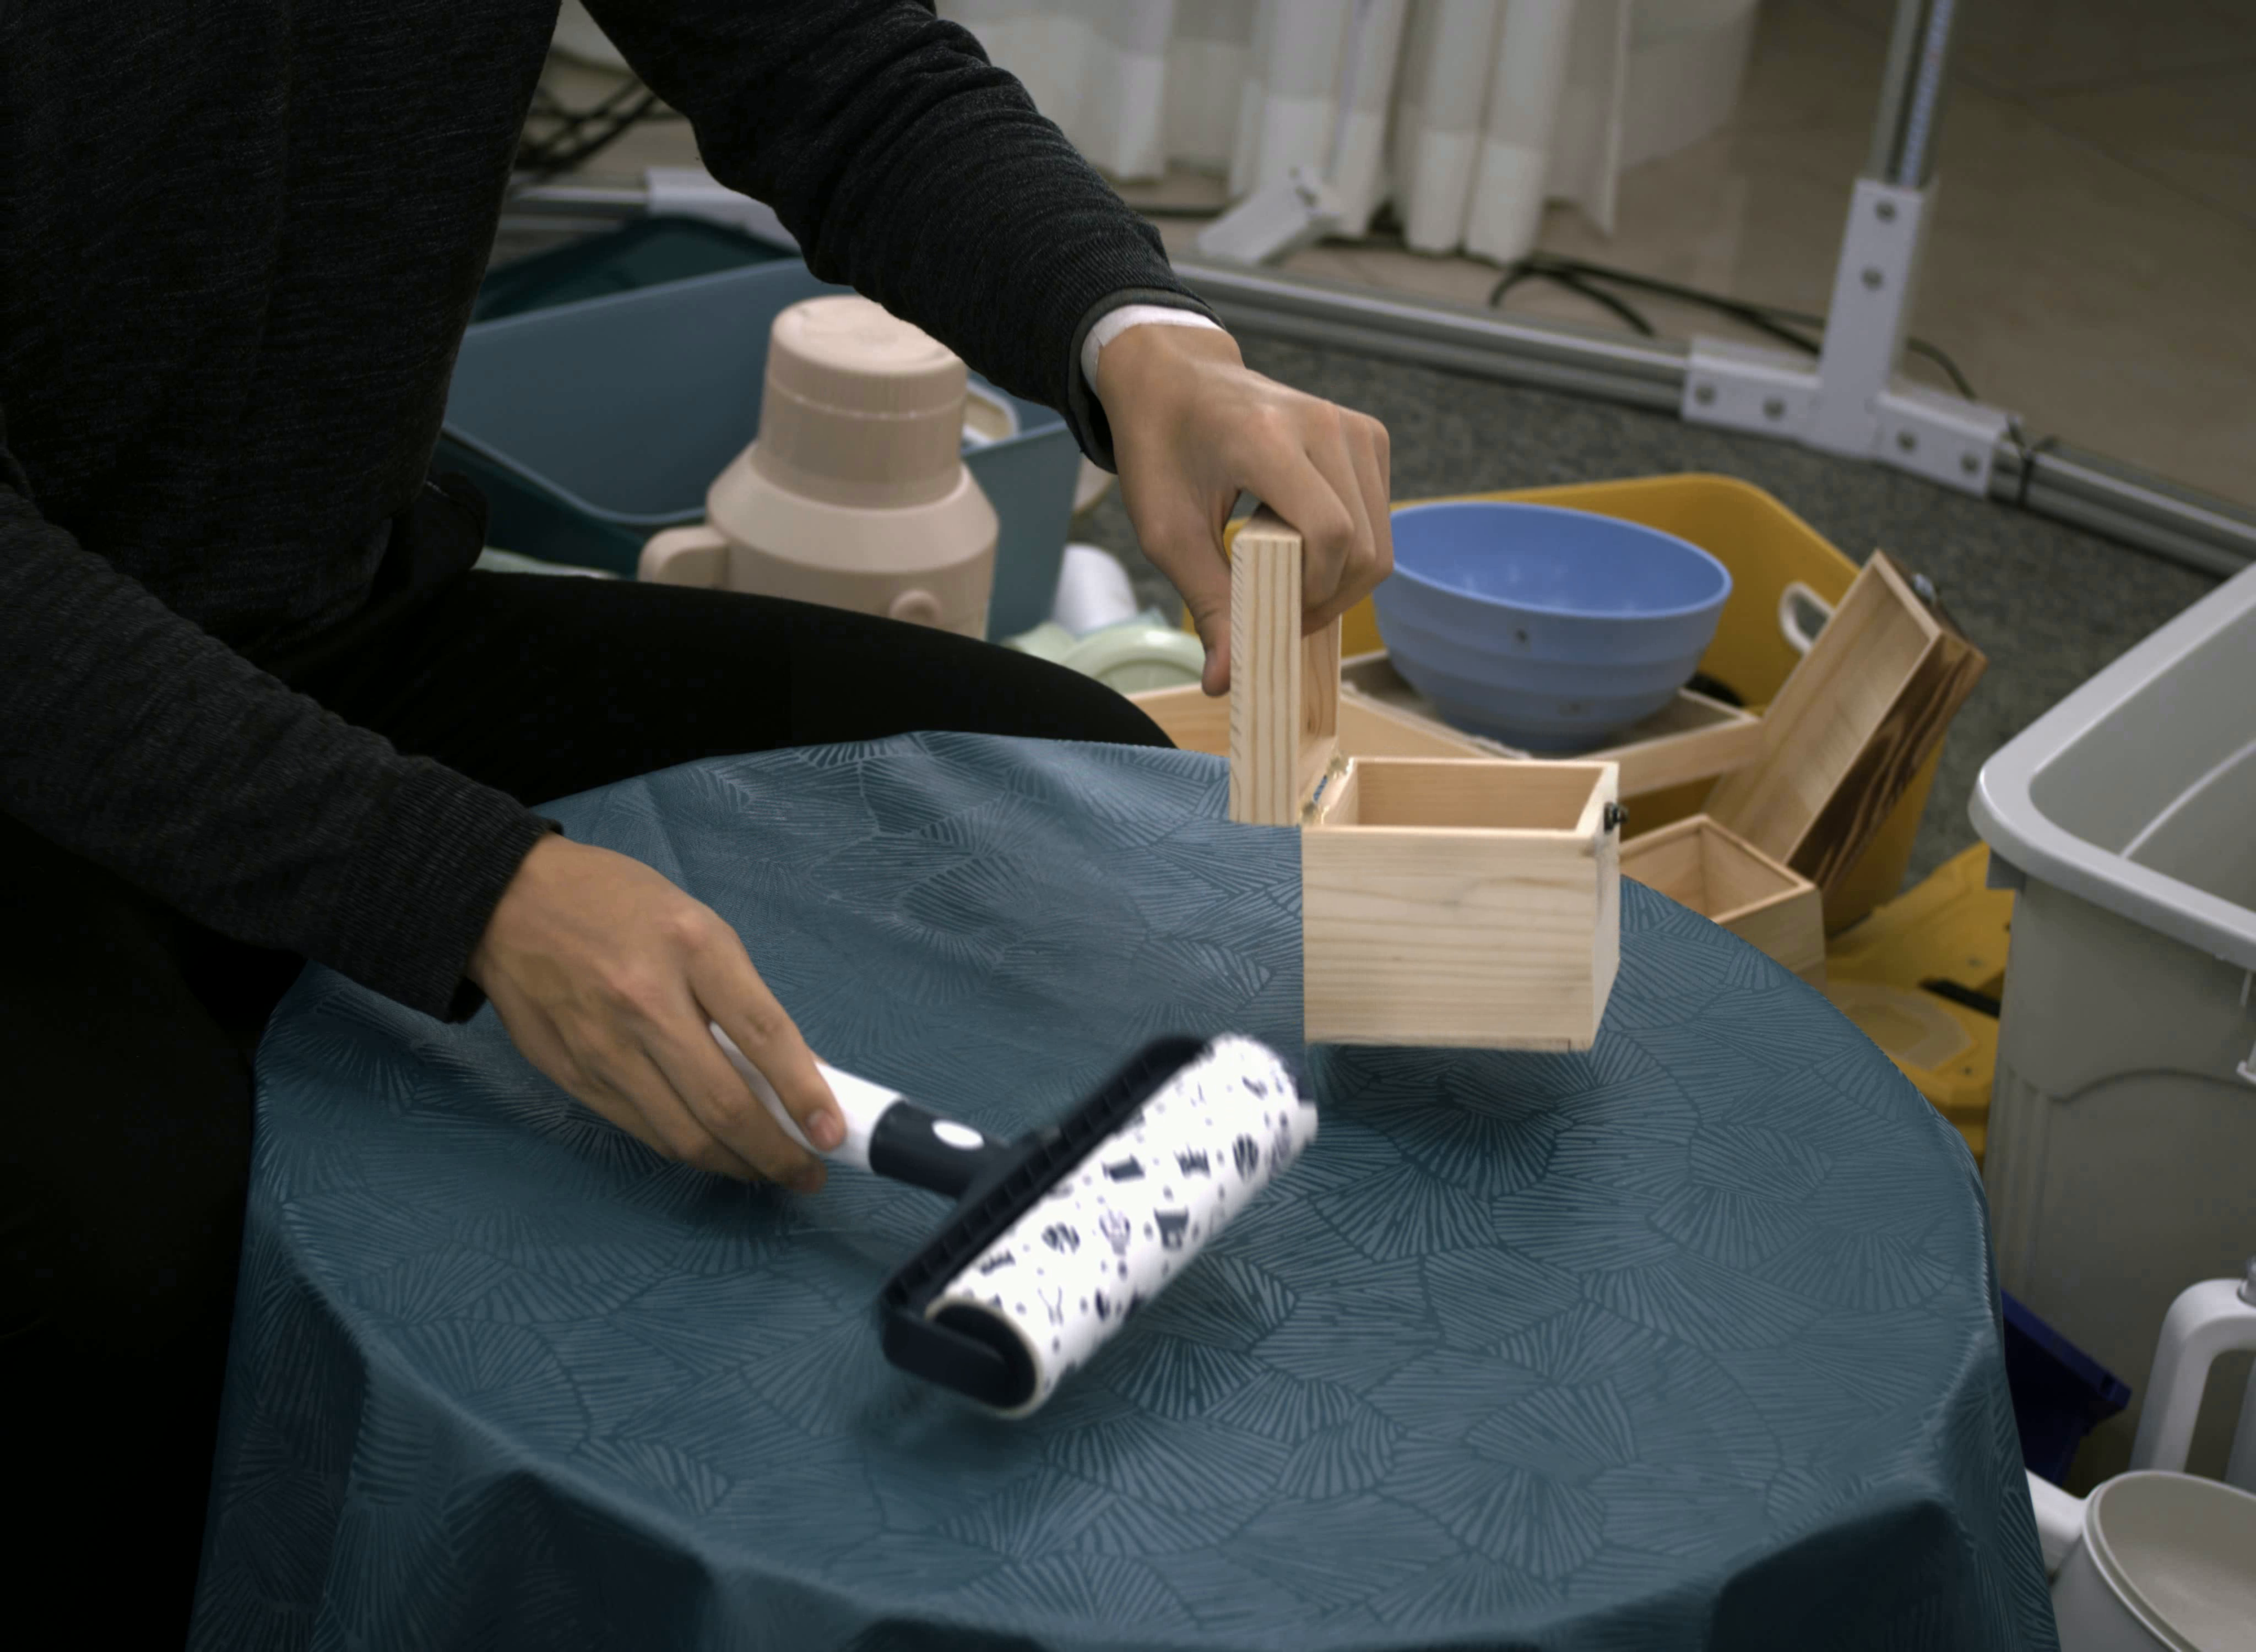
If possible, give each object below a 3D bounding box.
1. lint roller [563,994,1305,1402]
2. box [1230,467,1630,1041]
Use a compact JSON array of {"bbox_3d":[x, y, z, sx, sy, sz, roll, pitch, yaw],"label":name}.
[{"bbox_3d":[-0.087,0.094,1.744,0.248,0.050,0.176,18,40,29],"label":"lint roller"},{"bbox_3d":[0.109,-0.028,1.859,0.134,0.184,0.102,1,14,11],"label":"box"}]
